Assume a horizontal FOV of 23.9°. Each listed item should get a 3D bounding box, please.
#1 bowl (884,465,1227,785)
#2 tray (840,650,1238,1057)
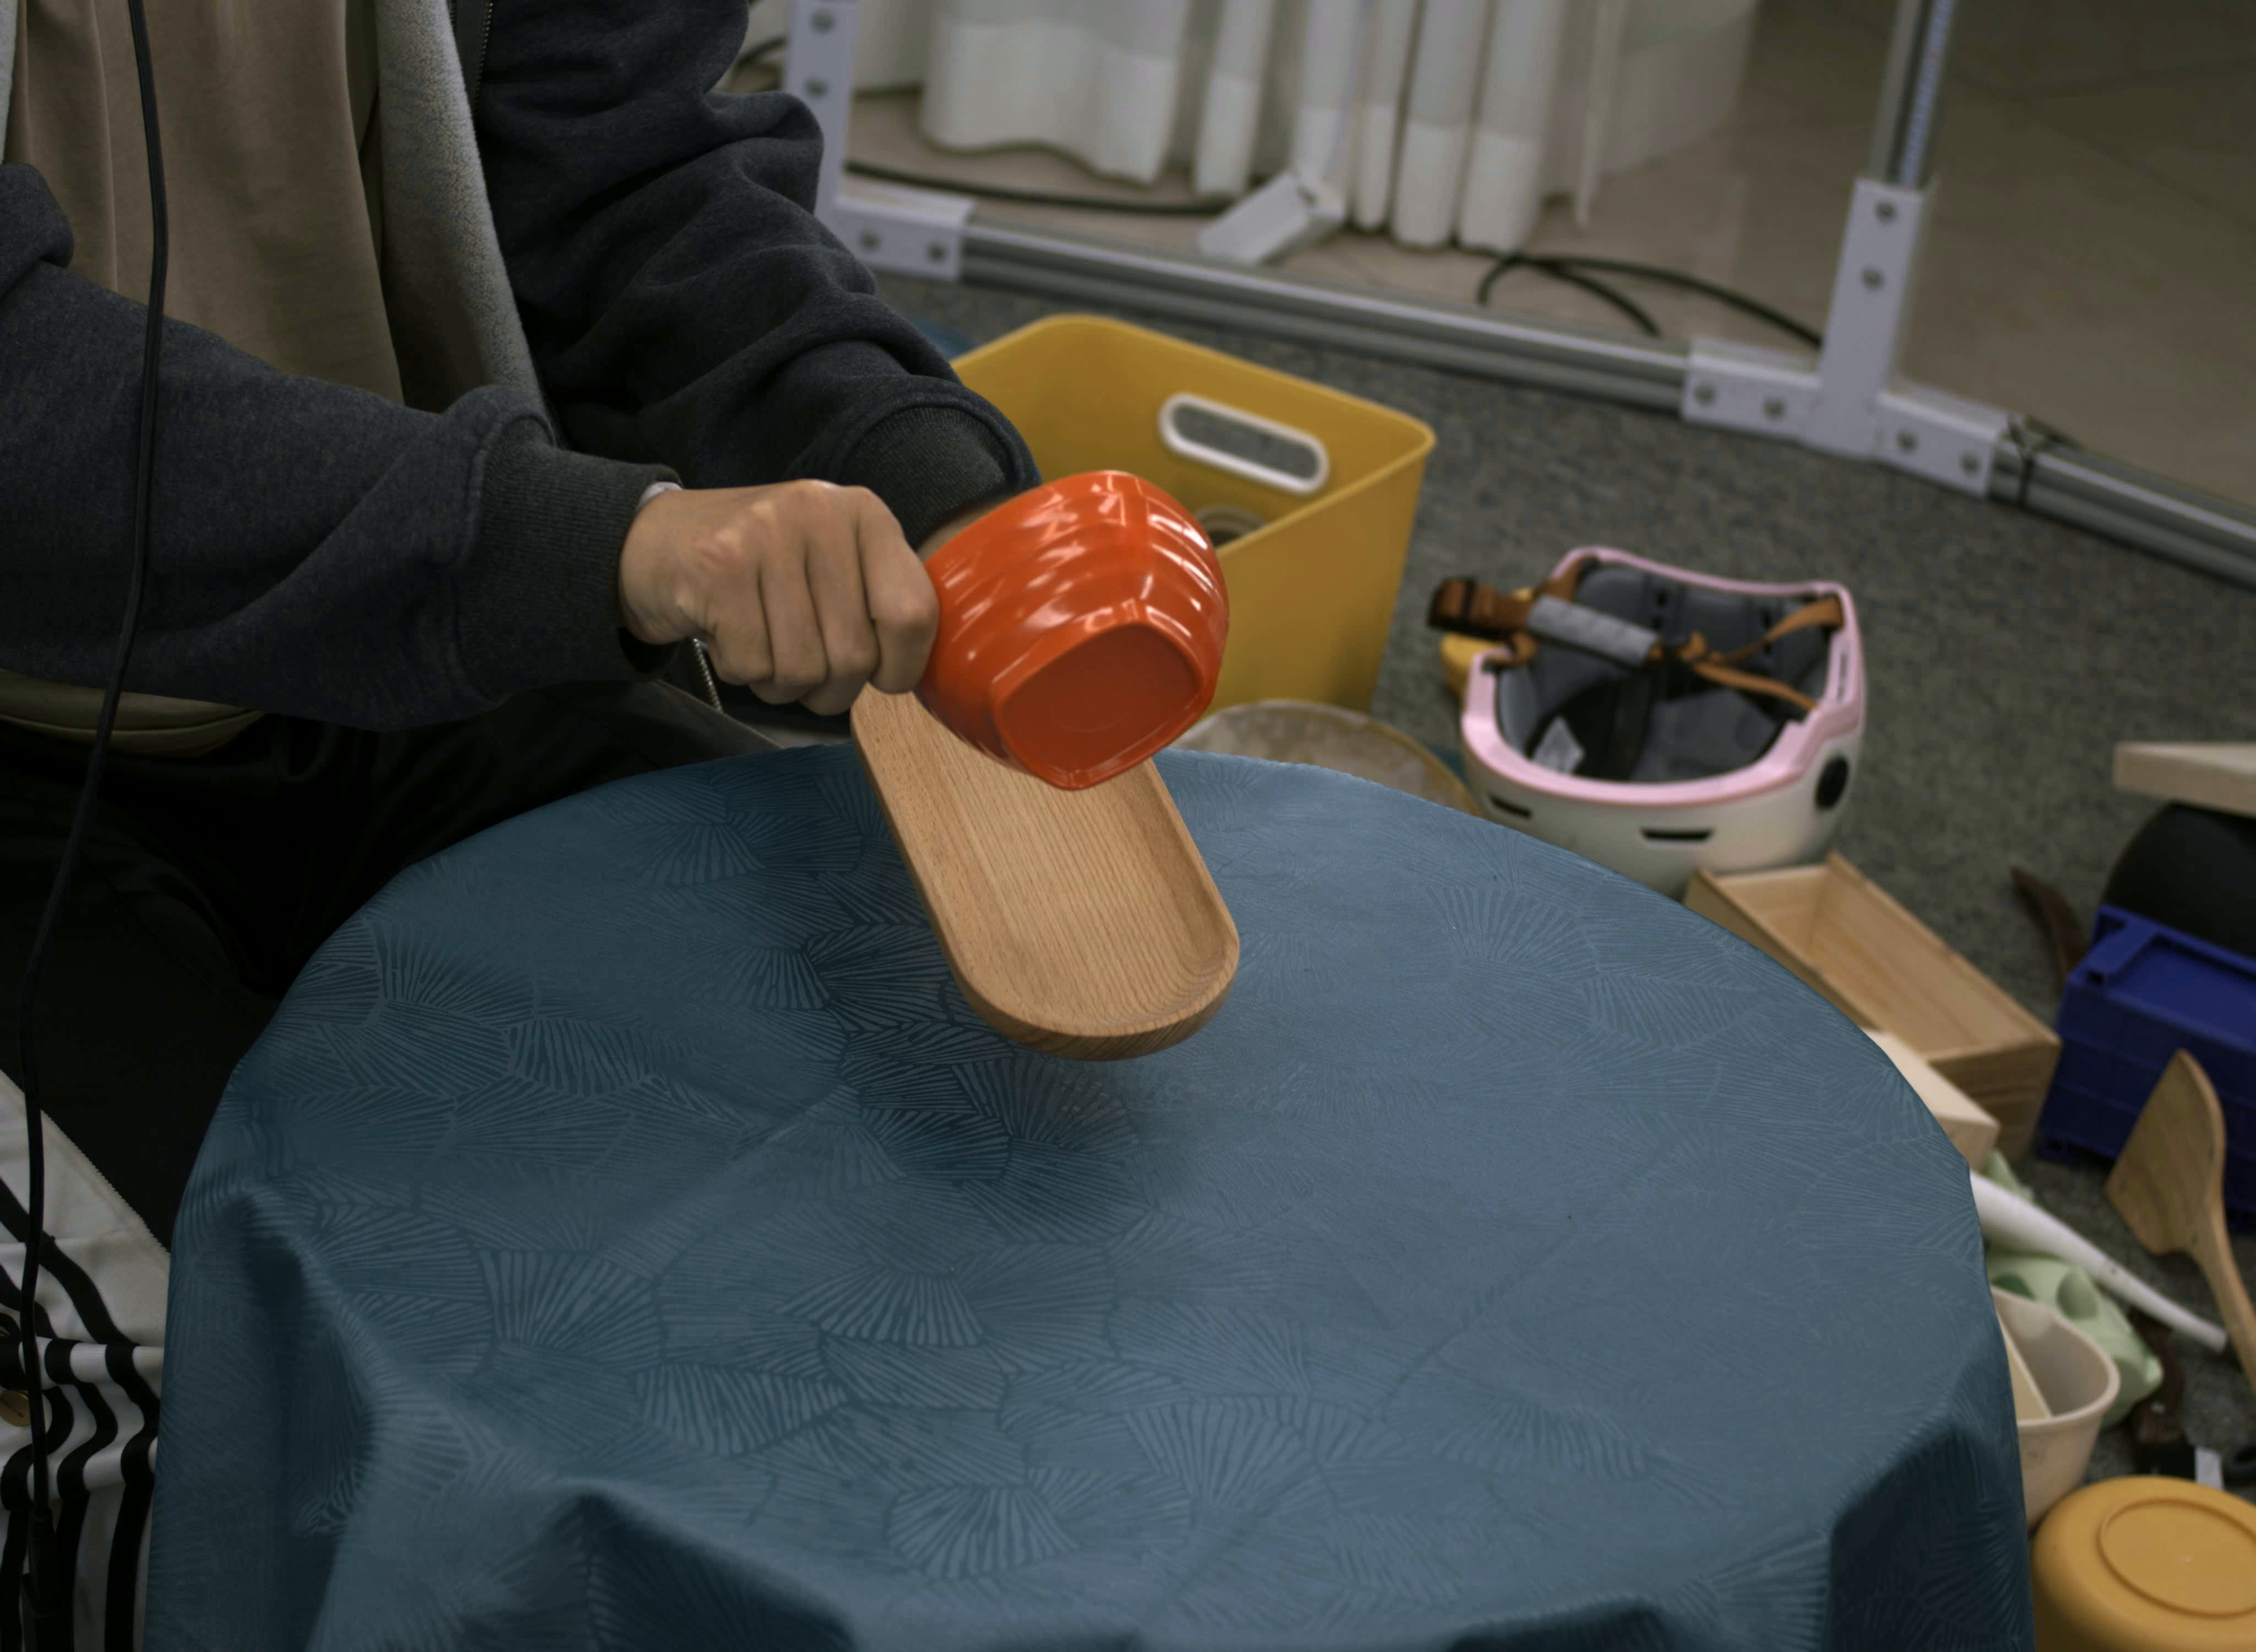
[{"bbox_3d":[-0.017,-0.057,1.734,0.118,0.118,0.052,-4,48,-22],"label":"bowl"},{"bbox_3d":[-0.033,0.004,1.885,0.101,0.020,0.233,-9,39,-16],"label":"tray"}]
